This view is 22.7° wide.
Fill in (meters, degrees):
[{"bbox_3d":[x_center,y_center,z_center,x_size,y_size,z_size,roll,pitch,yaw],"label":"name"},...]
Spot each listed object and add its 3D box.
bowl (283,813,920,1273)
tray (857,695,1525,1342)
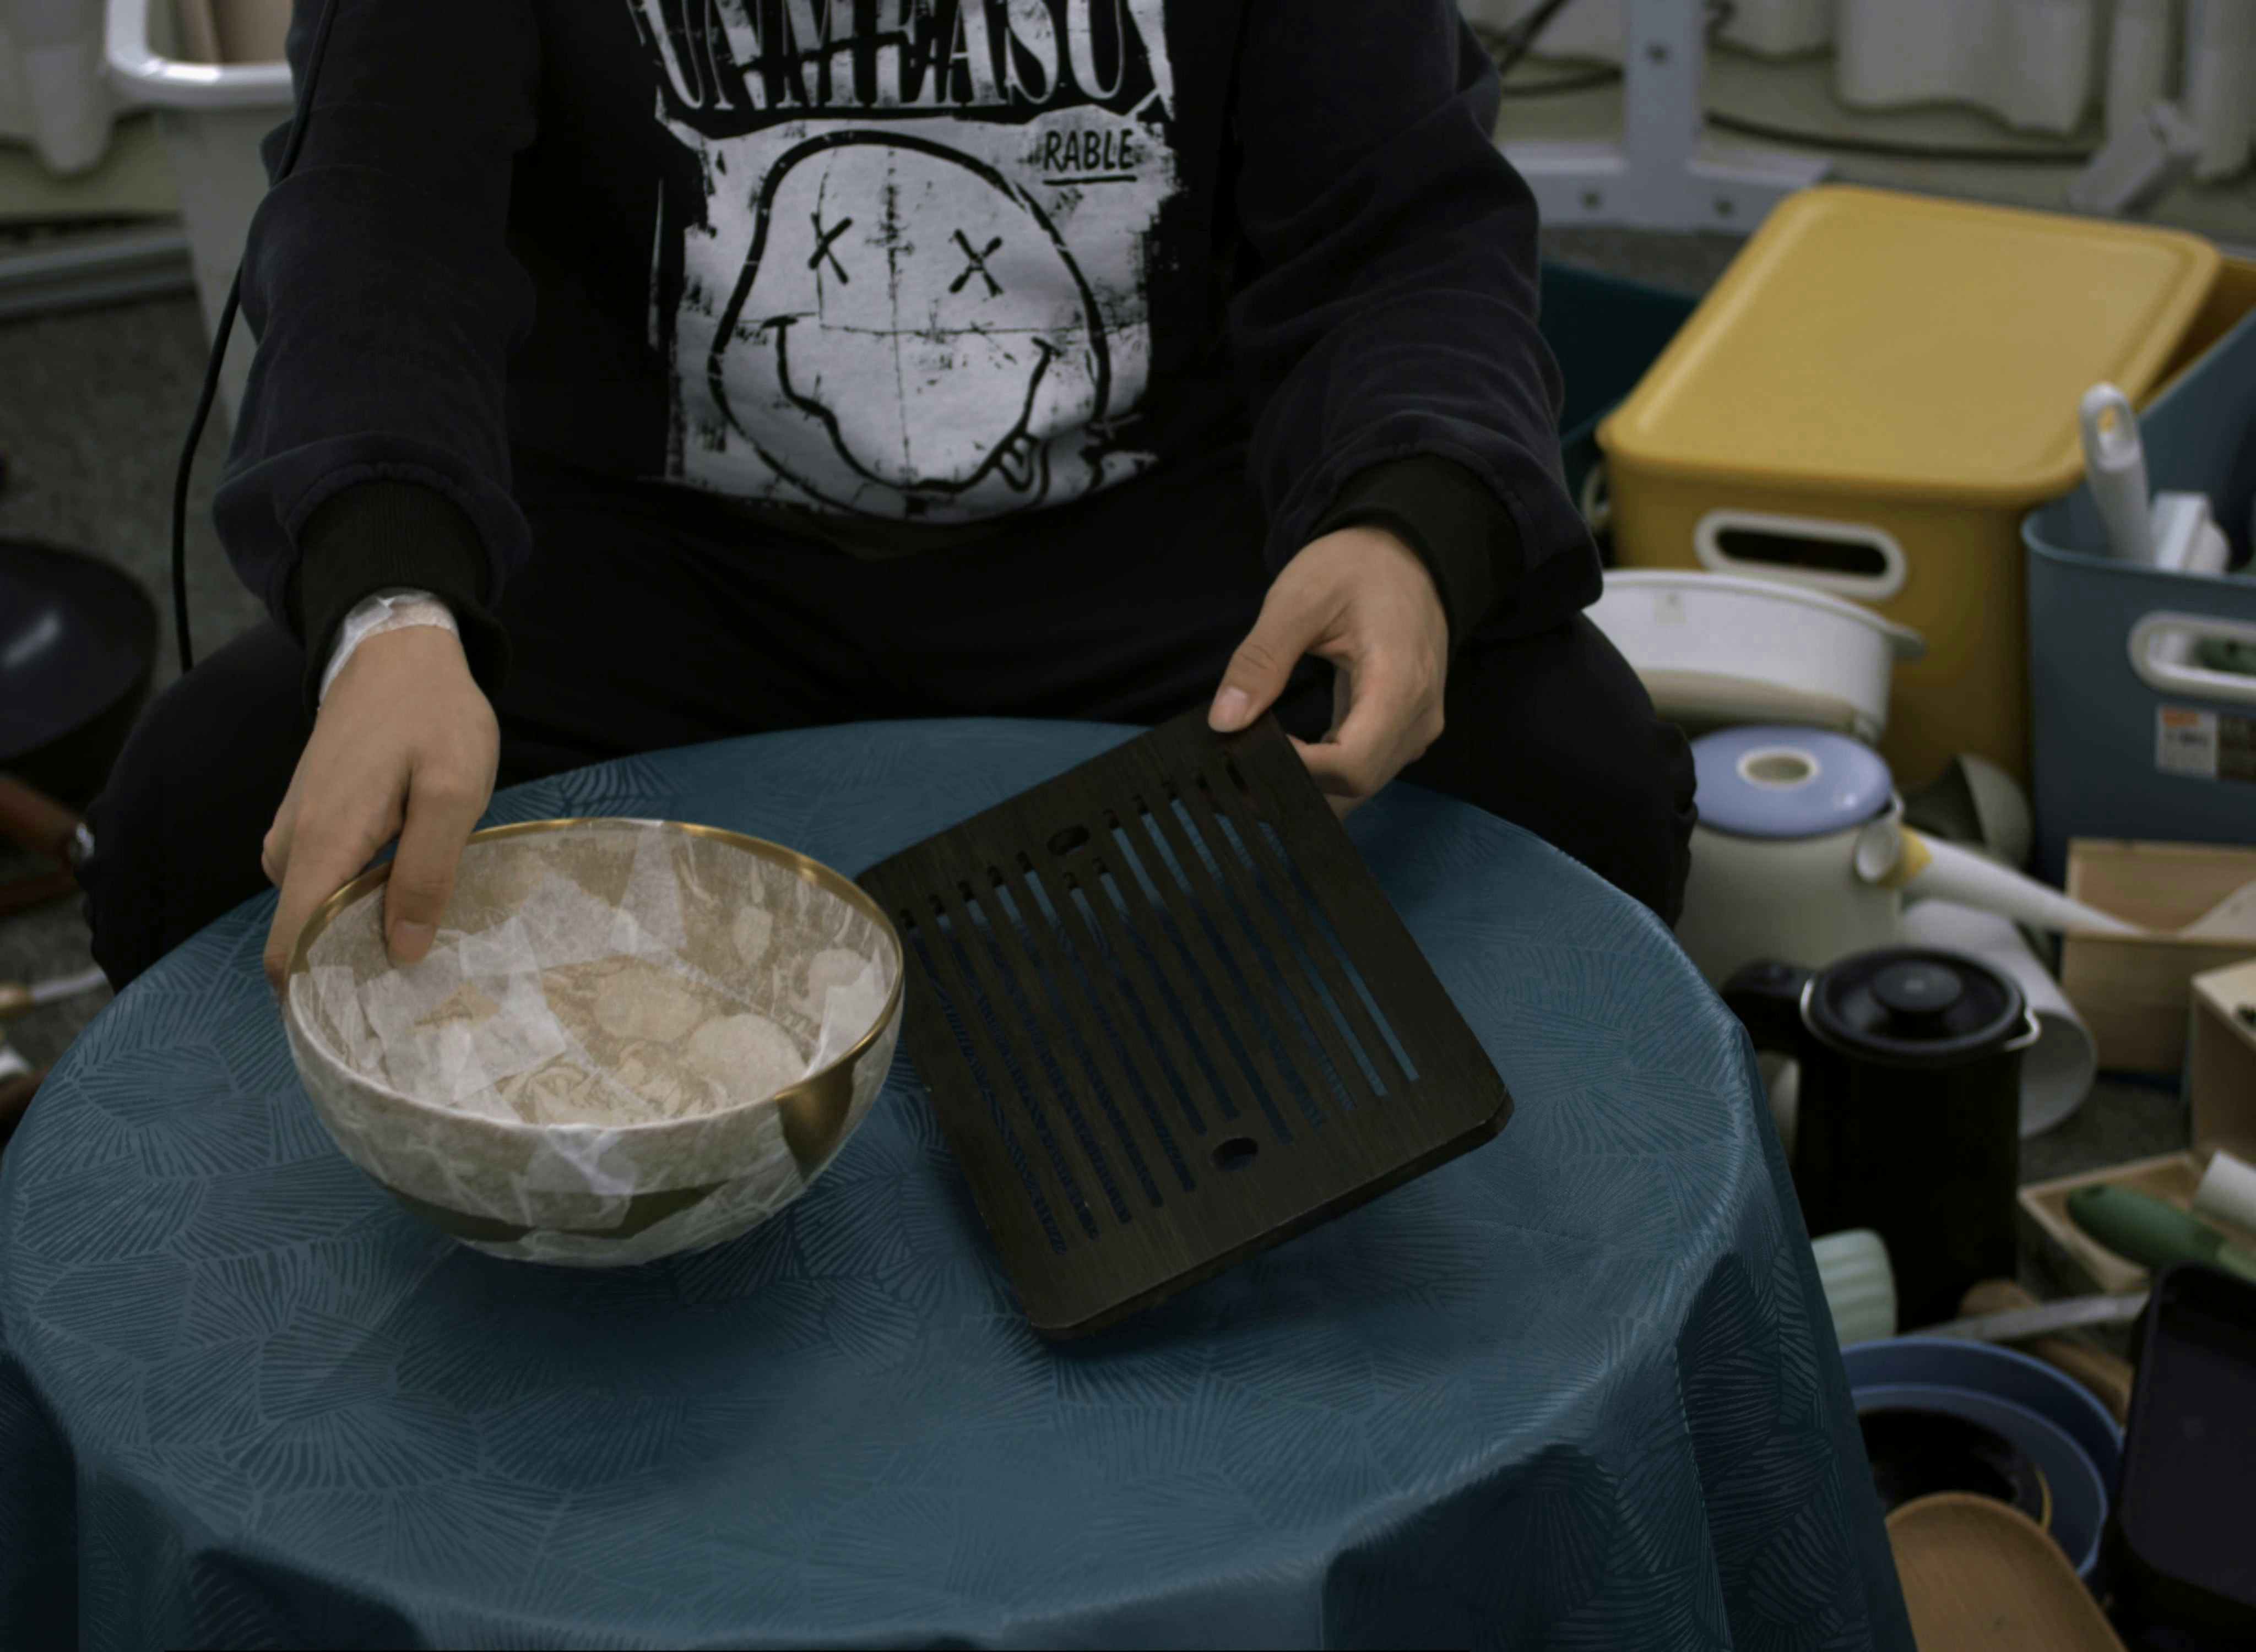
[{"bbox_3d":[-0.169,0.083,1.829,0.214,0.093,0.218,1,27,0],"label":"bowl"},{"bbox_3d":[0.015,0.061,1.897,0.170,0.018,0.309,-26,31,-2],"label":"tray"}]
